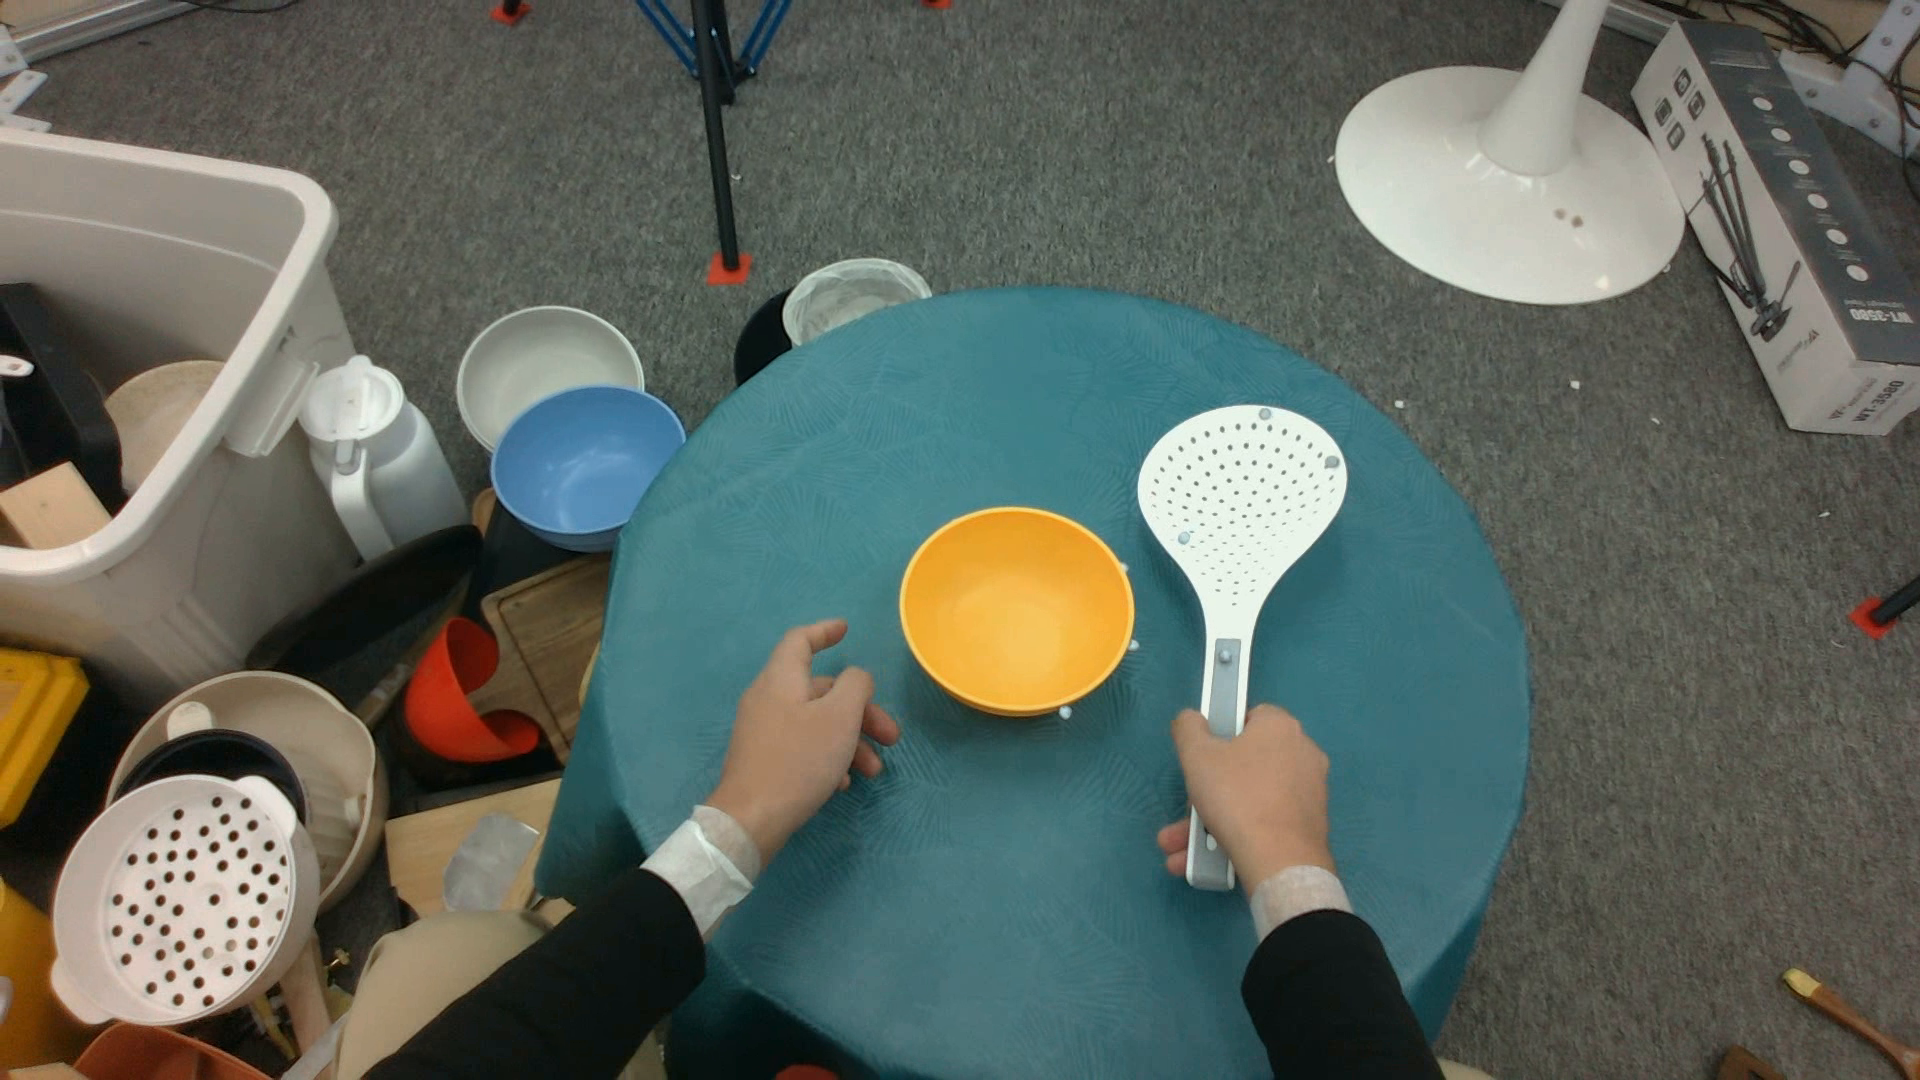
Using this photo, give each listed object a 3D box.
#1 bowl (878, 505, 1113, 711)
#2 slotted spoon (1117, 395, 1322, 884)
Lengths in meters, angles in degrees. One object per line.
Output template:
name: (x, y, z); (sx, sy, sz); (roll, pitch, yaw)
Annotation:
bowl: (0.021, 0.052, 0.860); (0.145, 0.060, 0.146); (1, 54, -2)
slotted spoon: (0.156, 0.047, 0.860); (0.136, 0.045, 0.351); (-1, 49, 18)
